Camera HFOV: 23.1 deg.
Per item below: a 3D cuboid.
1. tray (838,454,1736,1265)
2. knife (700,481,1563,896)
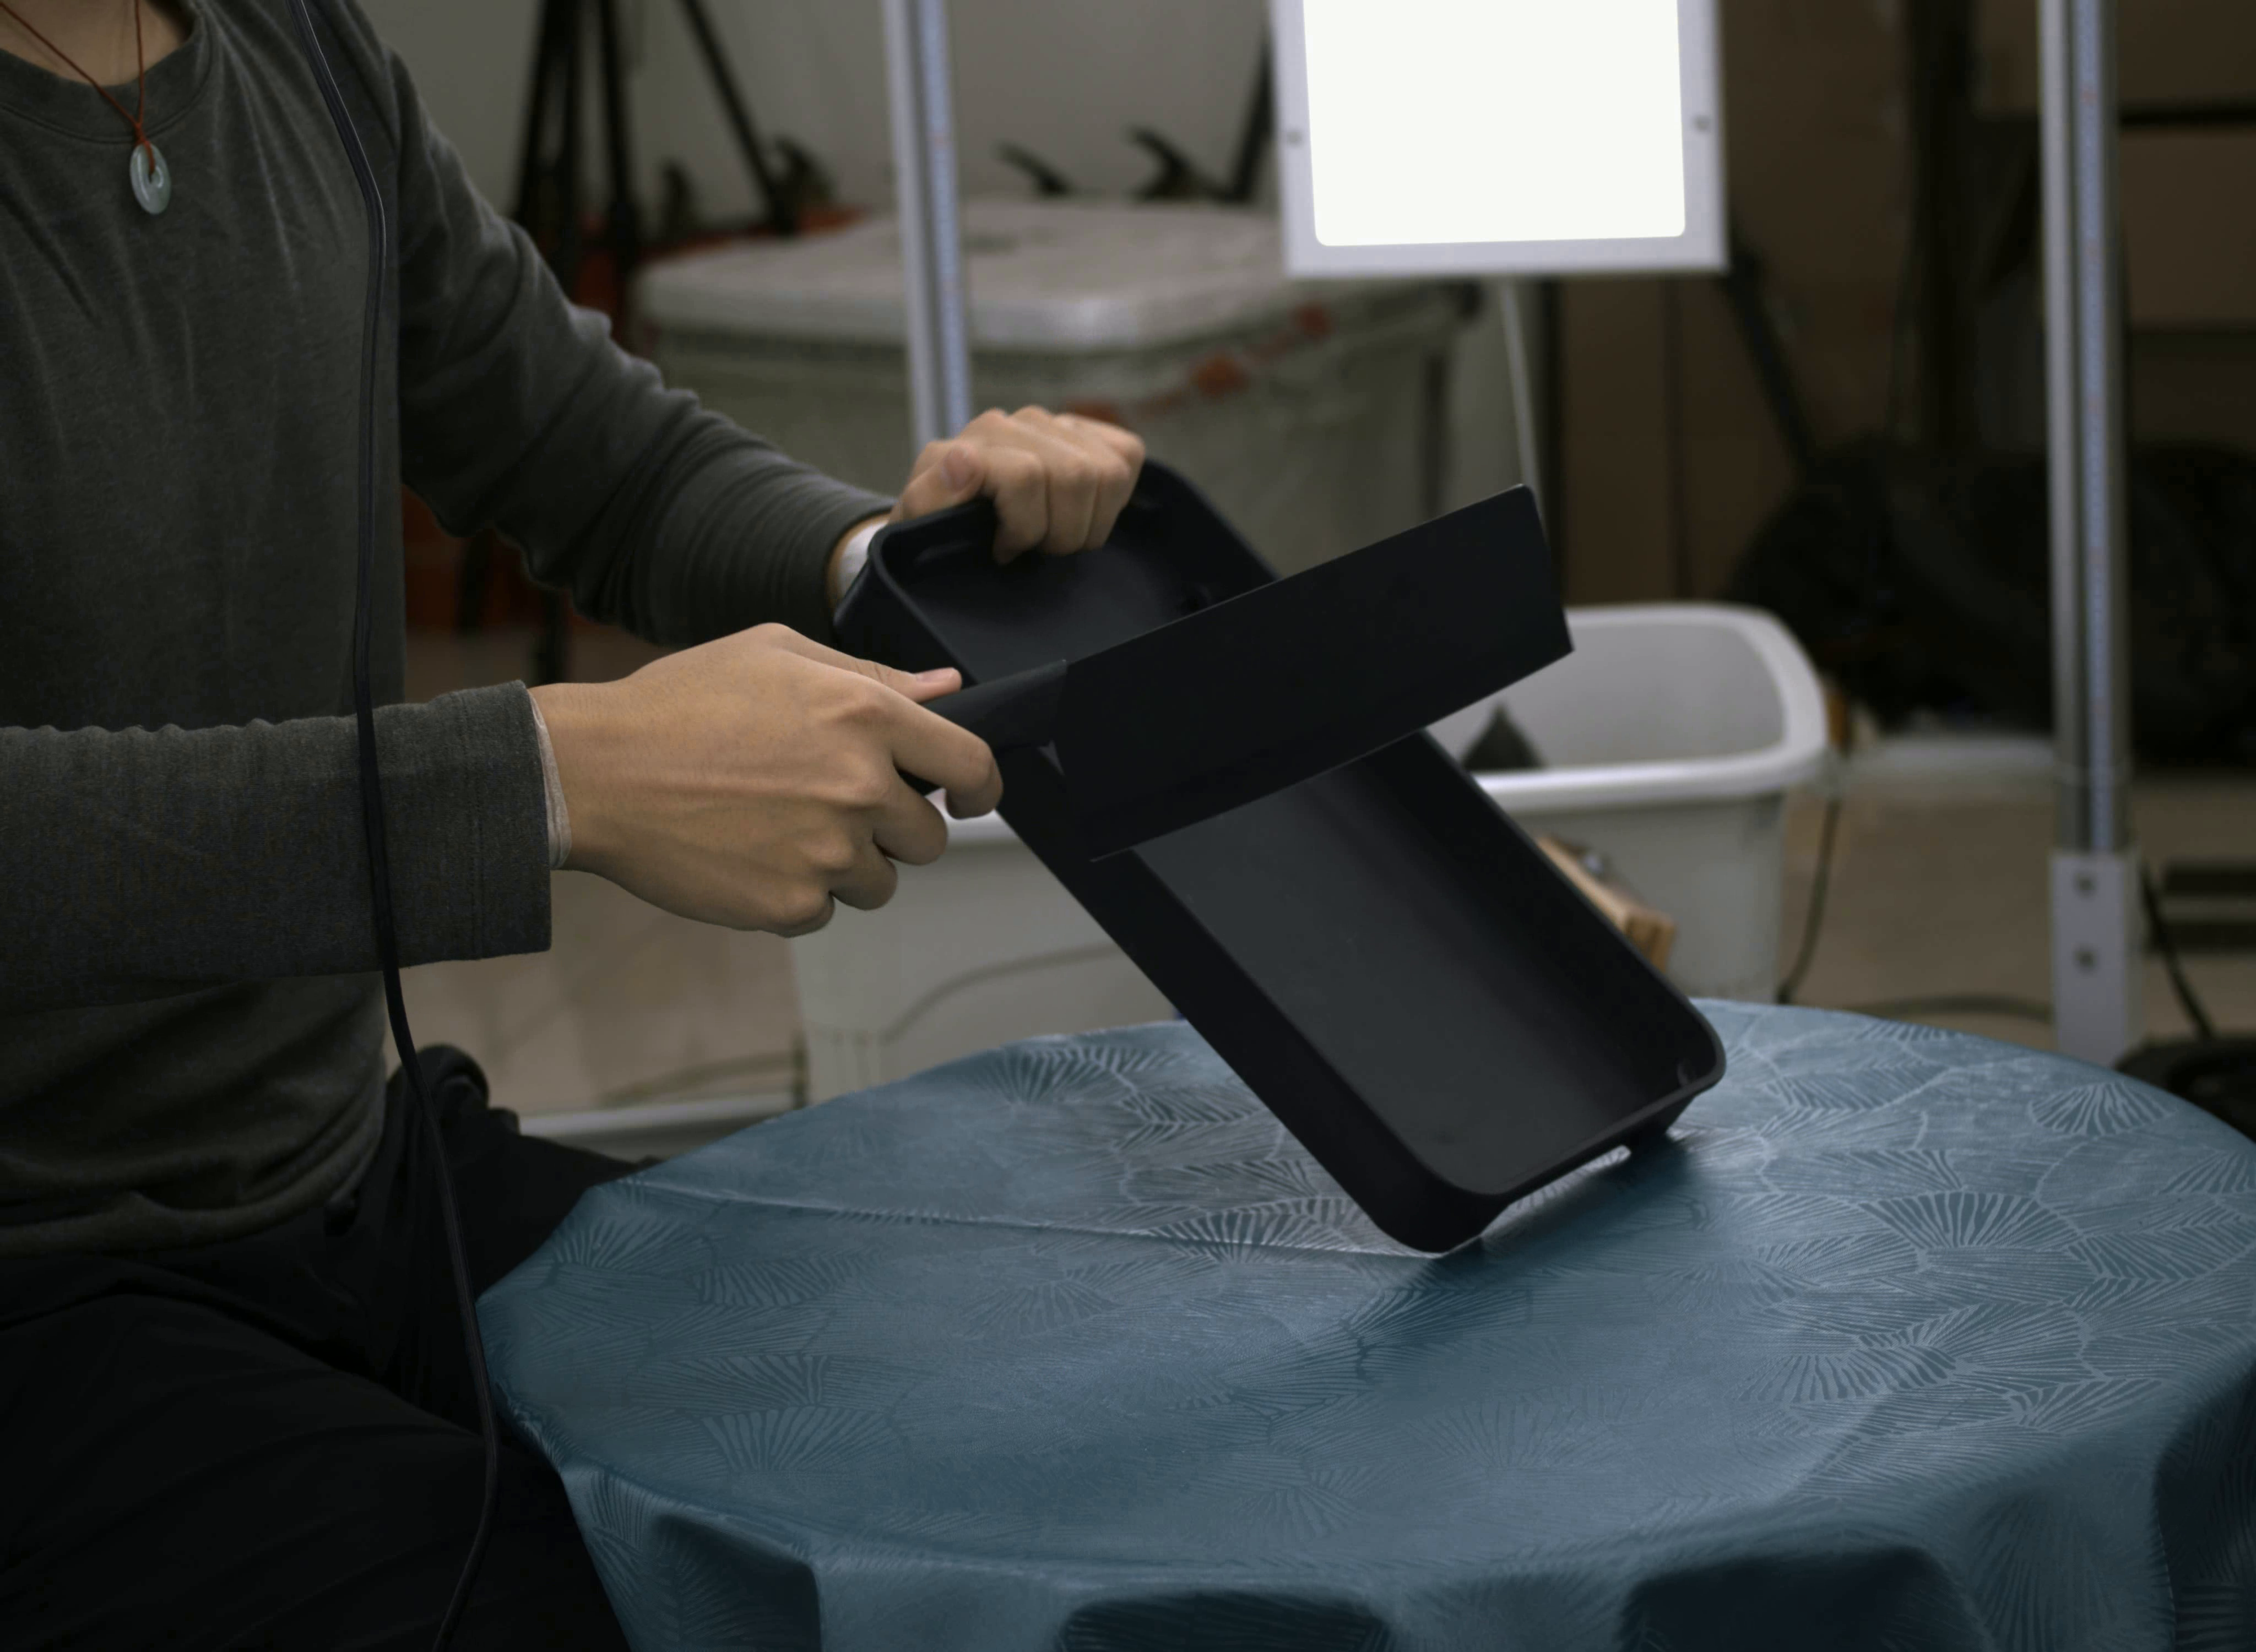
[{"bbox_3d":[0.055,0.006,1.896,0.320,0.037,0.180,46,37,17],"label":"tray"},{"bbox_3d":[0.003,-0.034,1.758,0.298,0.081,0.021,-17,16,-15],"label":"knife"}]
